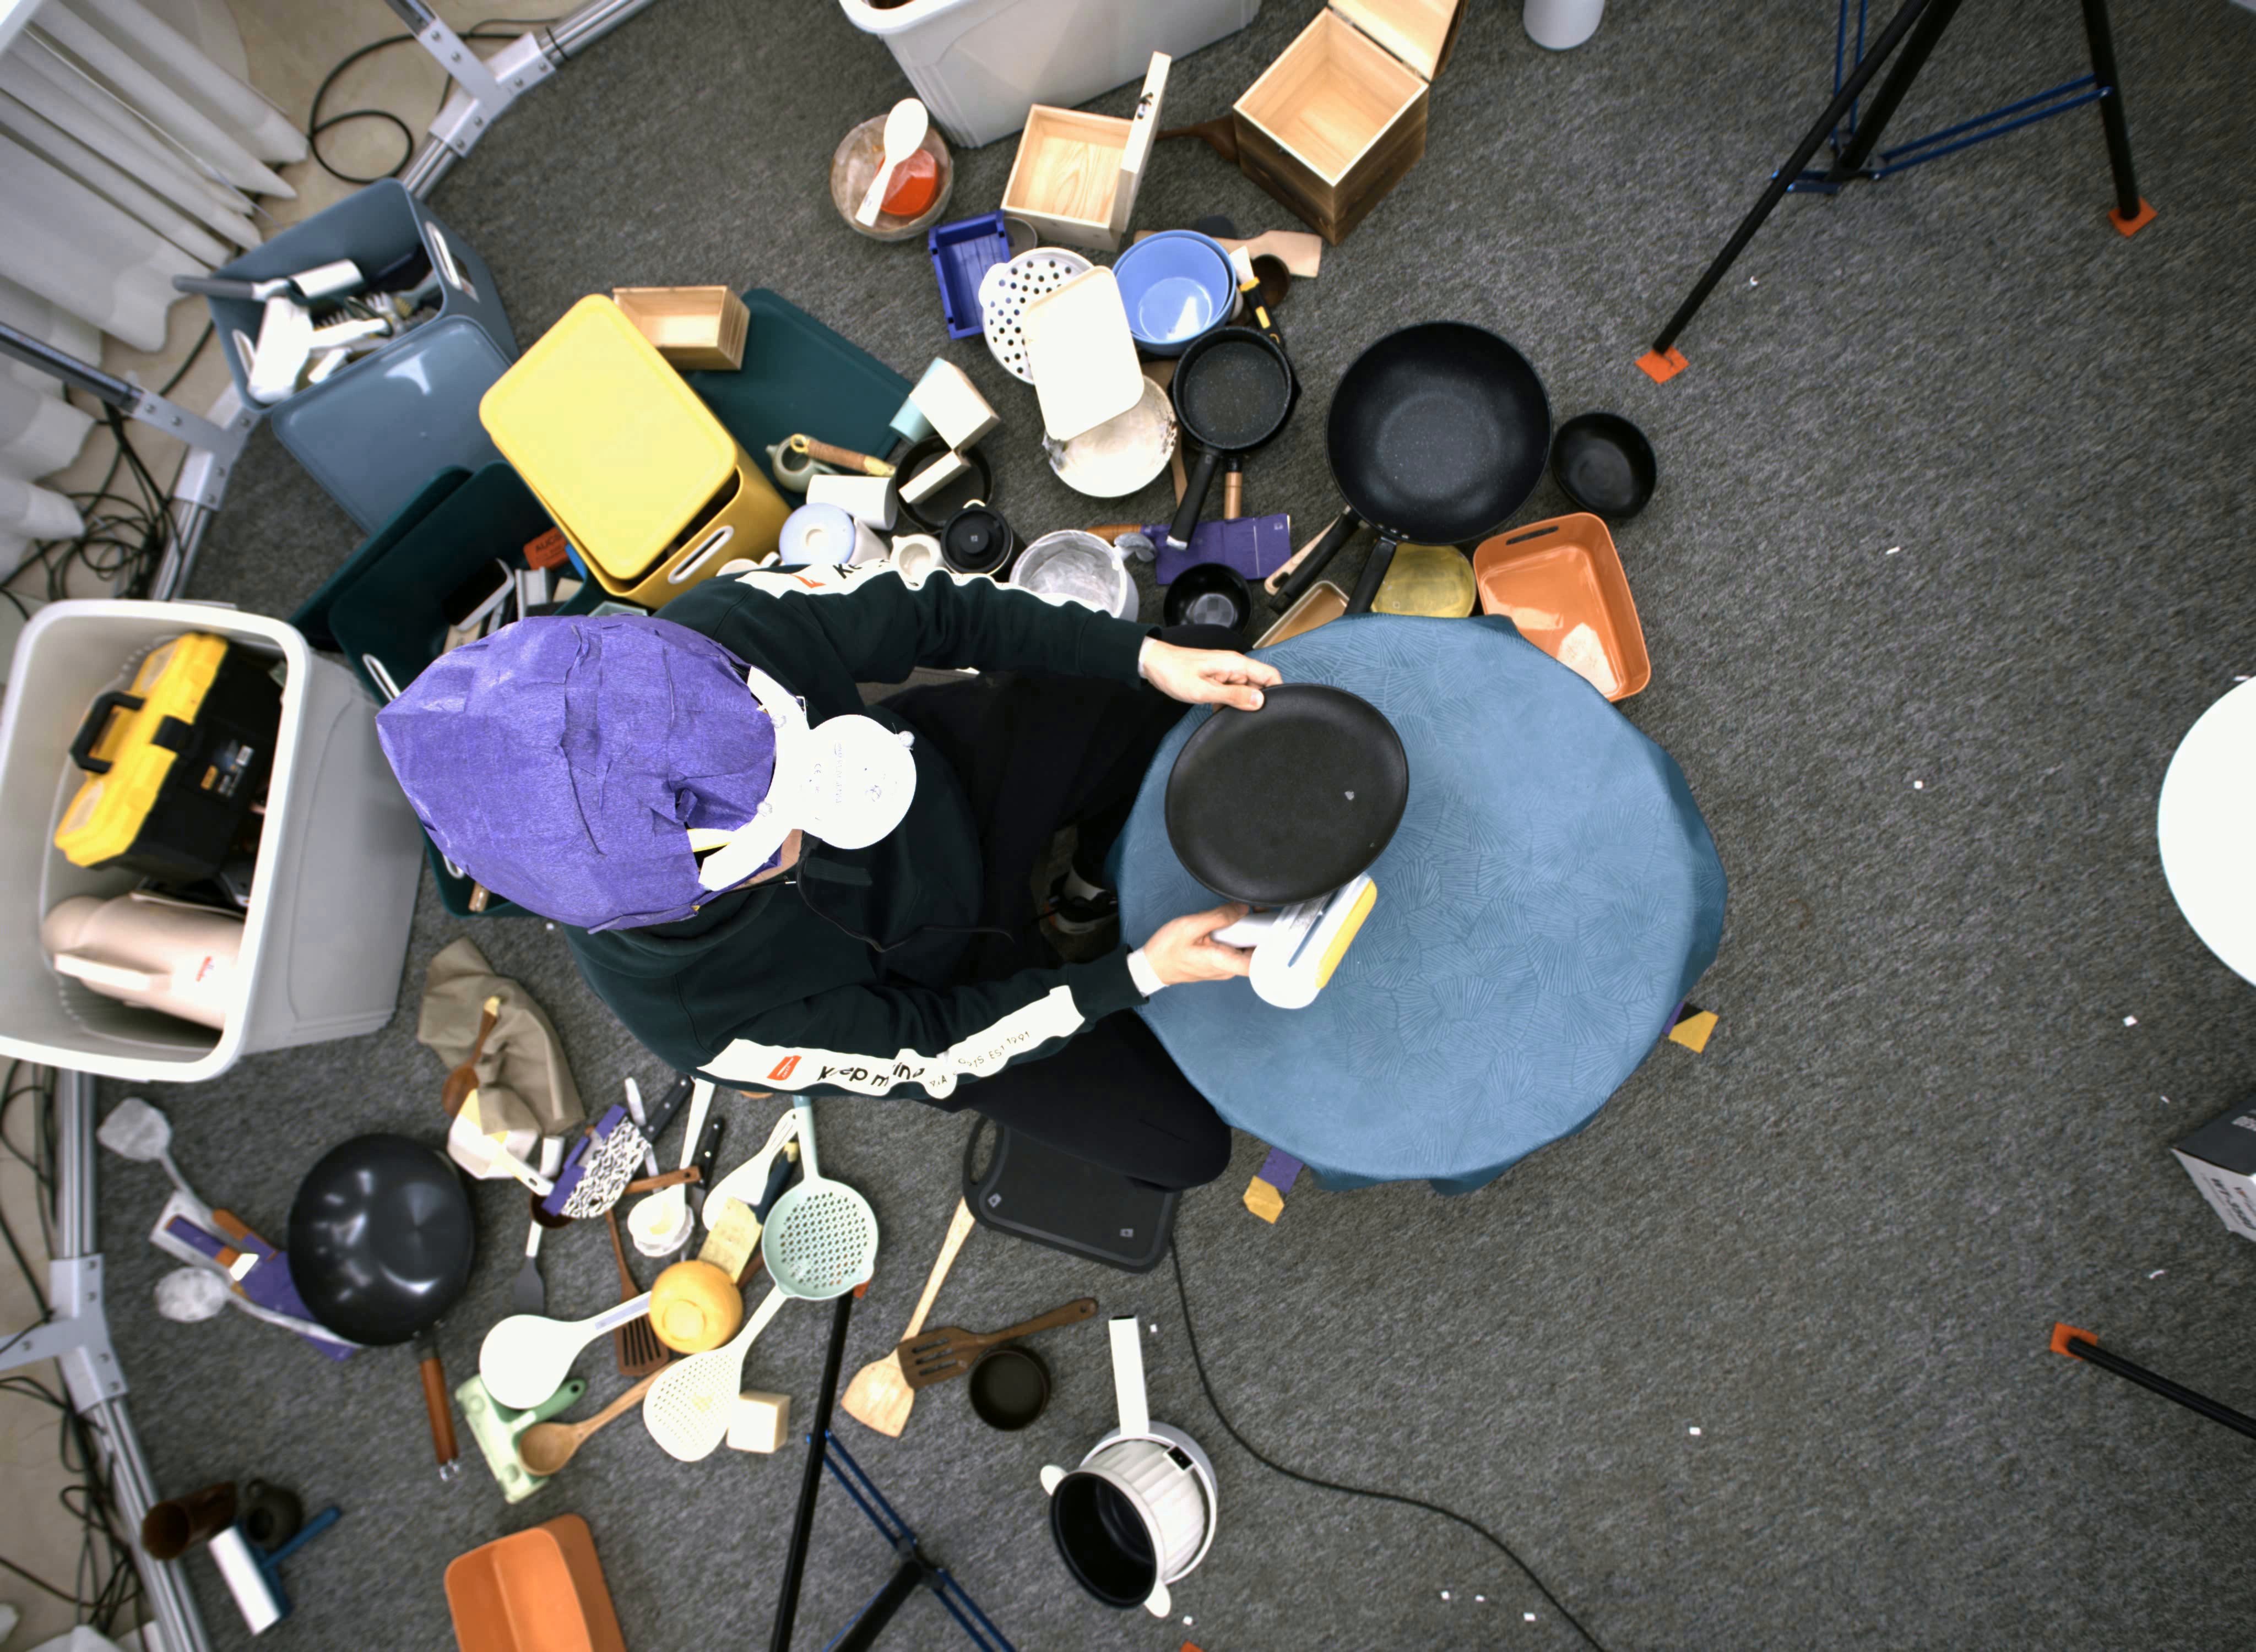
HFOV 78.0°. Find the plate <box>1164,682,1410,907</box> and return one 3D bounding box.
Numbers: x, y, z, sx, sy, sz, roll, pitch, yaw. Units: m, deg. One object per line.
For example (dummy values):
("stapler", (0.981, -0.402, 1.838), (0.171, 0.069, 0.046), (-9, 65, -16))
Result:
("plate", (0.153, -0.031, 1.341), (0.246, 0.024, 0.239), (-9, 64, 18))

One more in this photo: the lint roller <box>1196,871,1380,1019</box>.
("lint roller", (0.137, 0.115, 1.366), (0.194, 0.188, 0.075), (-1, 127, 44))
